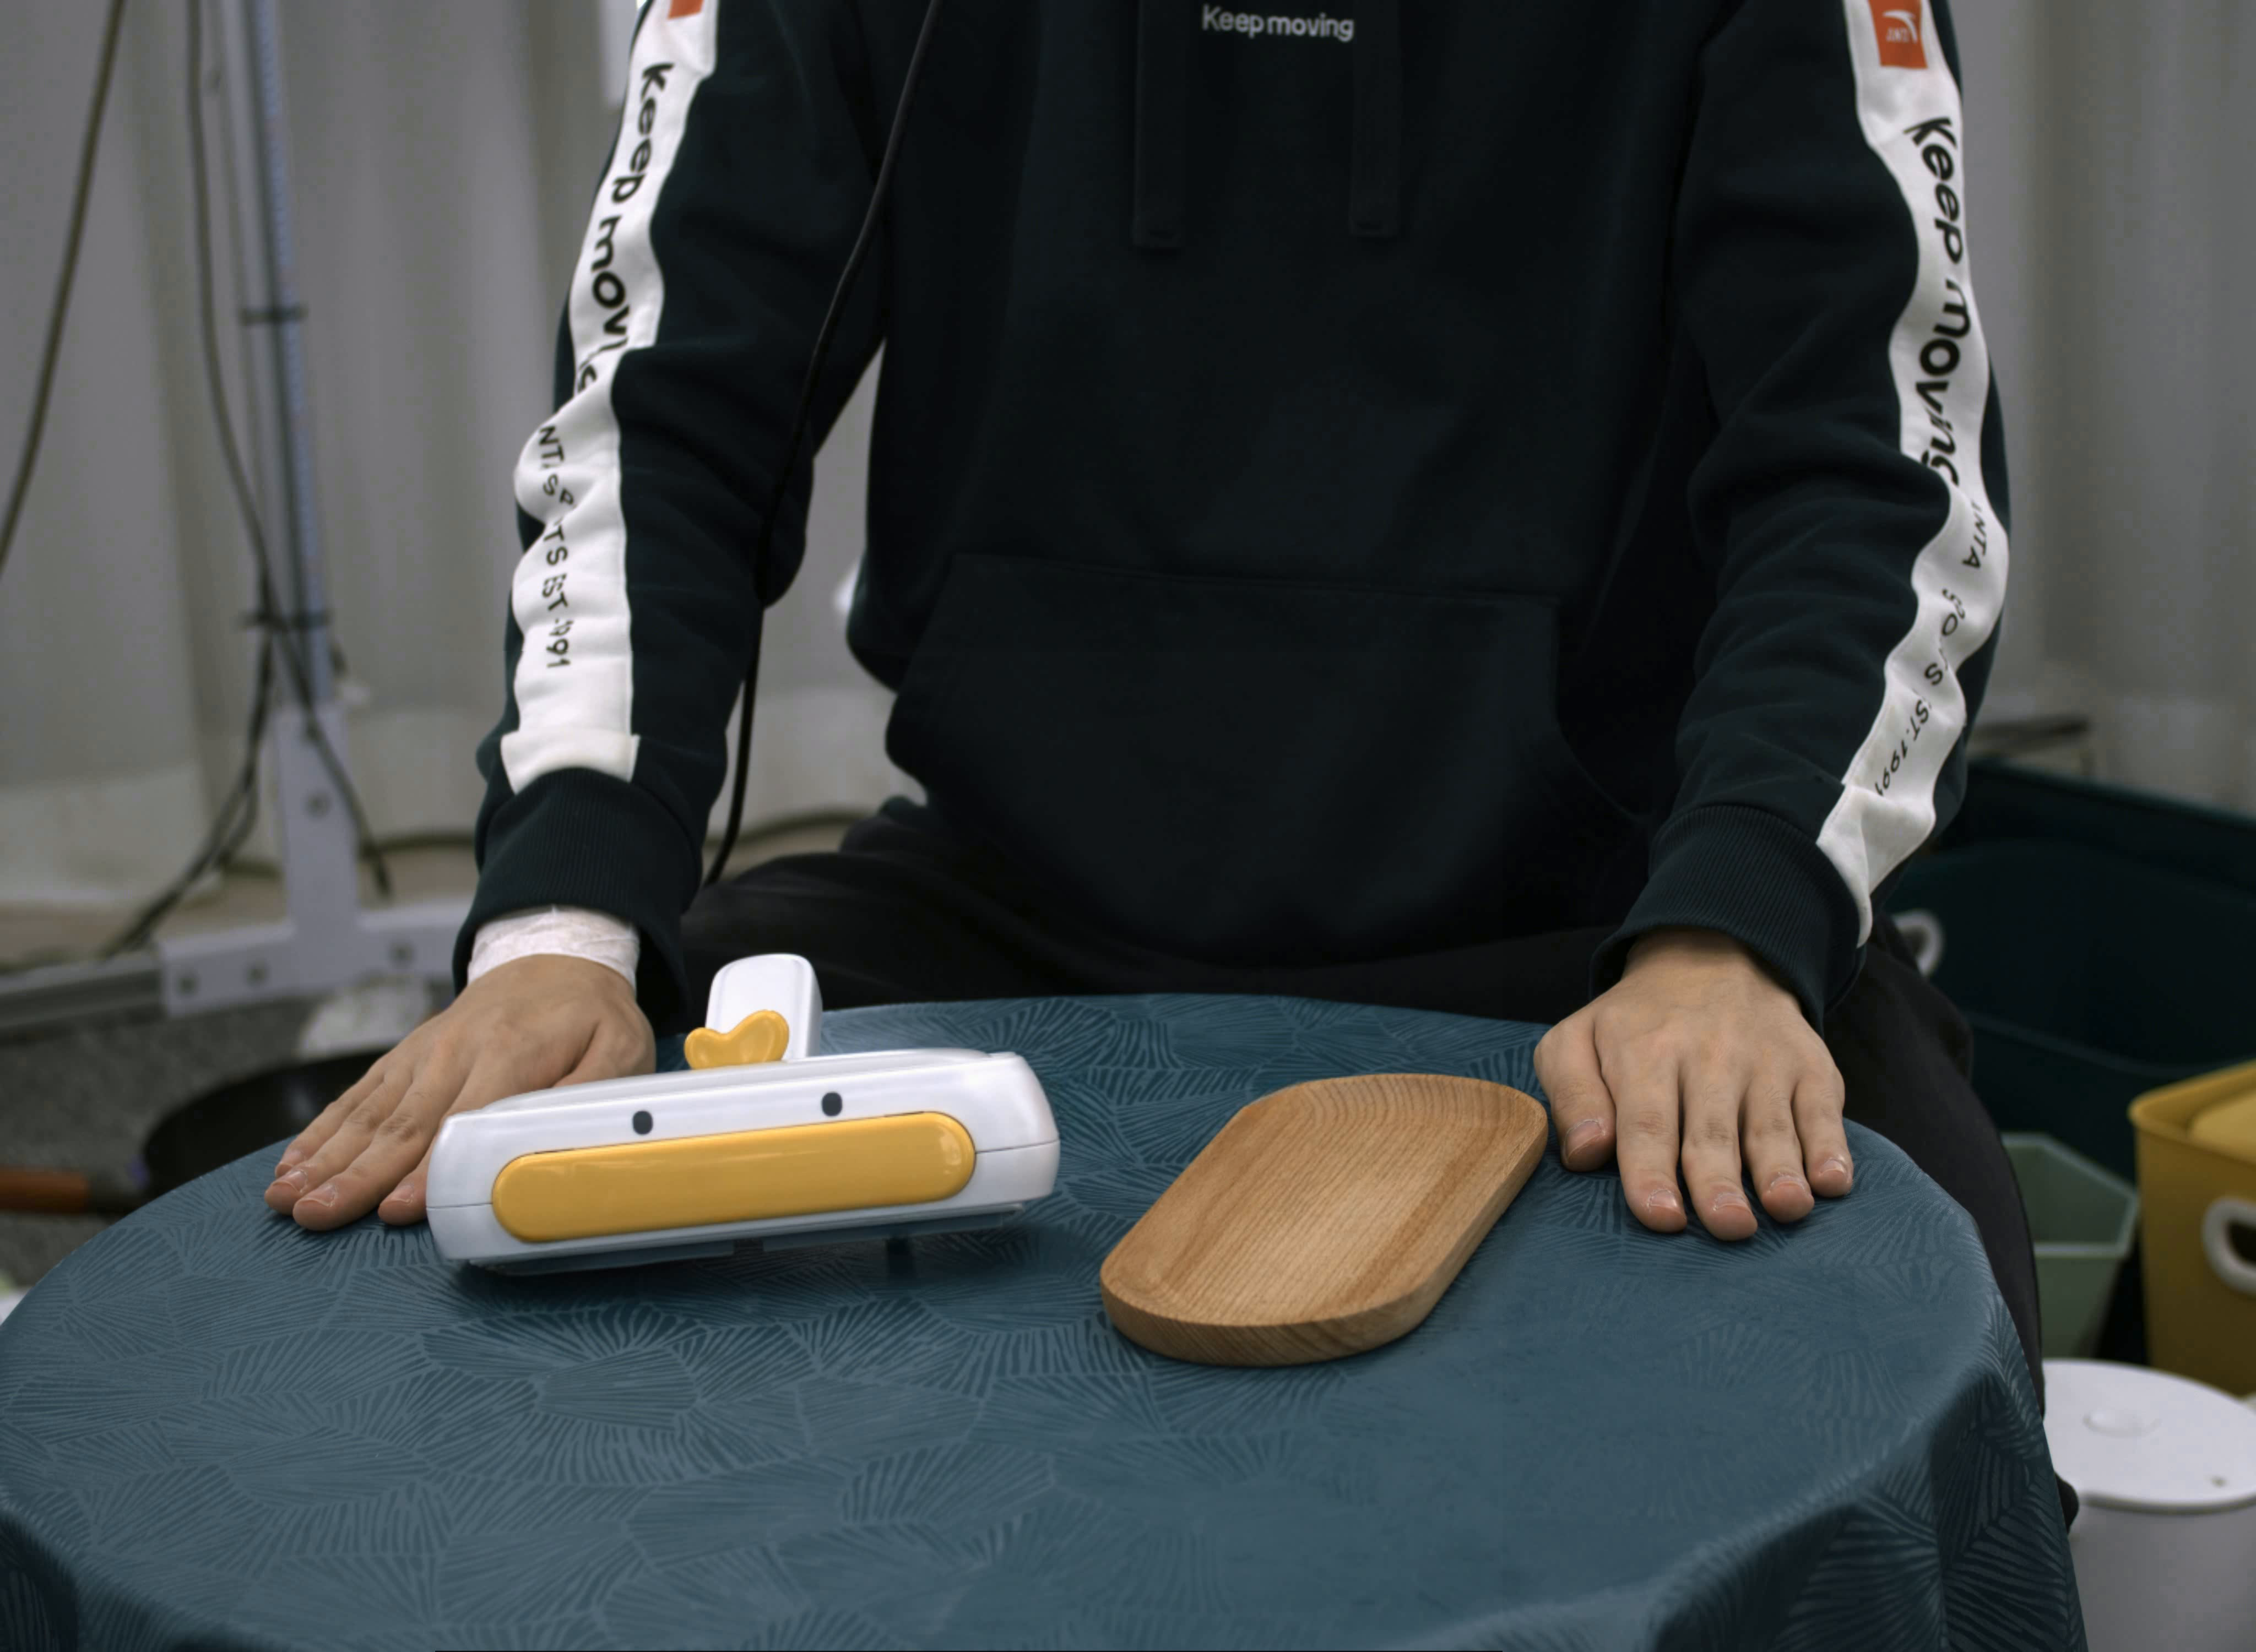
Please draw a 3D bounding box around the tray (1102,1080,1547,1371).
[{"bbox_3d":[0.062,0.119,1.655,0.101,0.020,0.232,1,17,17],"label":"tray"}]

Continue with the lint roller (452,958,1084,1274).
[{"bbox_3d":[-0.114,0.085,1.720,0.192,0.074,0.193,-11,8,-1],"label":"lint roller"}]
